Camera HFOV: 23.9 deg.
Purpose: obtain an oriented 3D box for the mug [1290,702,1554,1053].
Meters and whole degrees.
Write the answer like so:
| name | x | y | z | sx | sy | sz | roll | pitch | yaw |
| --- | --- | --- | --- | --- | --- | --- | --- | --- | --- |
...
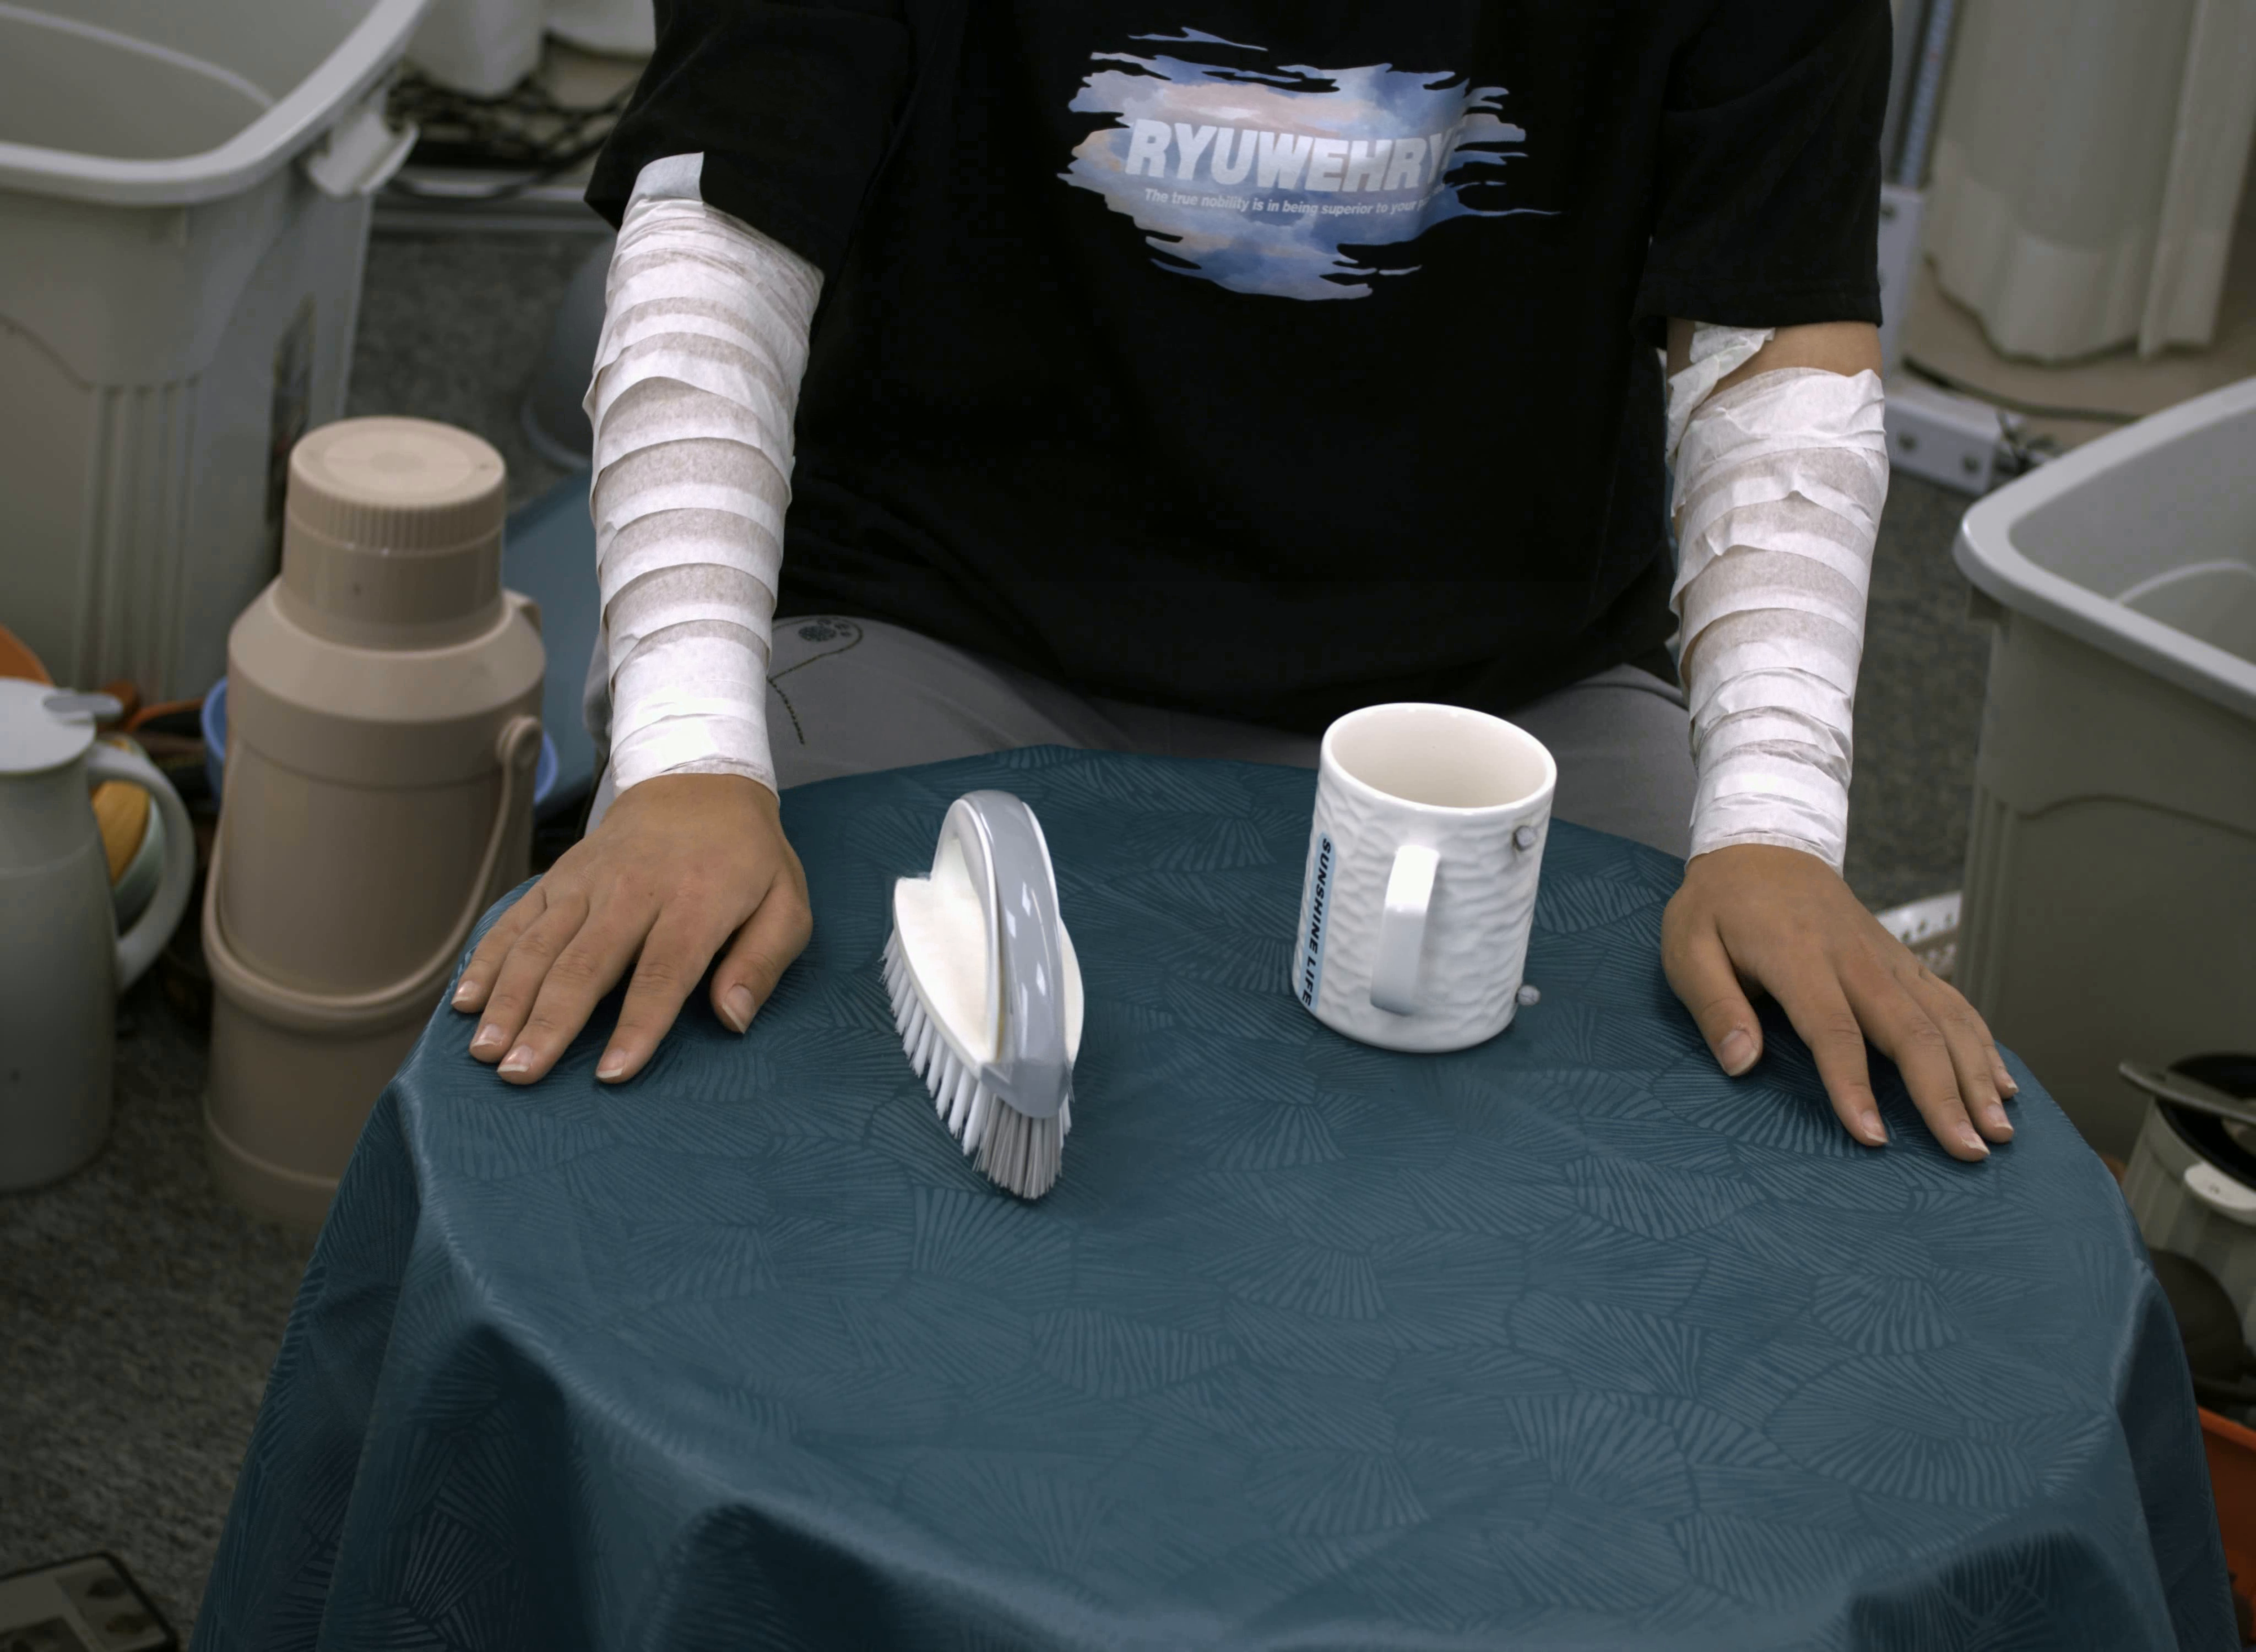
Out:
| name | x | y | z | sx | sy | sz | roll | pitch | yaw |
| --- | --- | --- | --- | --- | --- | --- | --- | --- | --- |
| mug | 0.103 | 0.026 | 1.906 | 0.085 | 0.101 | 0.119 | 9 | 27 | 5 |

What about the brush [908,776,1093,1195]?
| name | x | y | z | sx | sy | sz | roll | pitch | yaw |
| --- | --- | --- | --- | --- | --- | --- | --- | --- | --- |
| brush | -0.040 | 0.047 | 1.846 | 0.061 | 0.094 | 0.177 | -3 | 30 | -9 |
